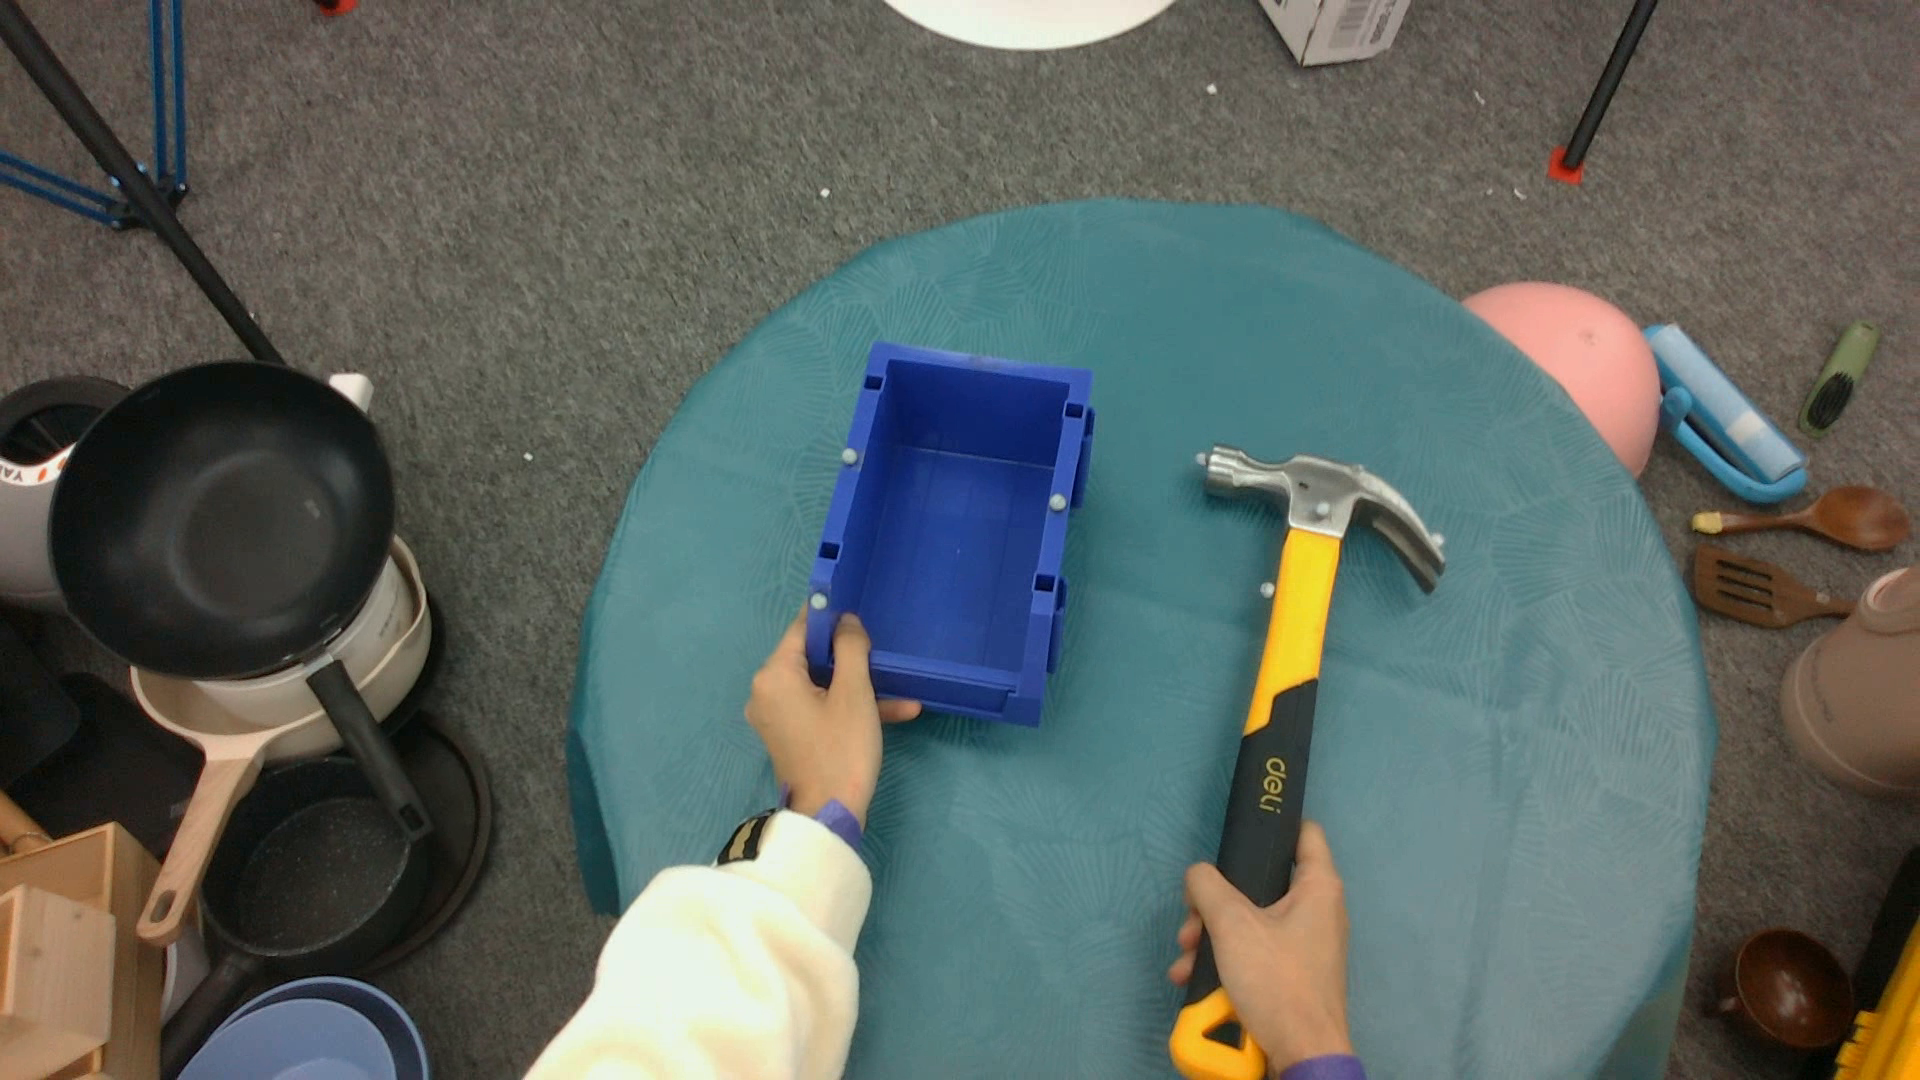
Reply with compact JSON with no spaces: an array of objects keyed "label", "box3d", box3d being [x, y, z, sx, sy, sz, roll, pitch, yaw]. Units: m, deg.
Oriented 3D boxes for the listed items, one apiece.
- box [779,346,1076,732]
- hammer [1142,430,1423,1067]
[{"label":"box","box3d":[-0.013,0.000,0.715,0.124,0.081,0.180,9,57,5]},{"label":"hammer","box3d":[0.147,0.089,0.684,0.131,0.032,0.340,15,57,9]}]
